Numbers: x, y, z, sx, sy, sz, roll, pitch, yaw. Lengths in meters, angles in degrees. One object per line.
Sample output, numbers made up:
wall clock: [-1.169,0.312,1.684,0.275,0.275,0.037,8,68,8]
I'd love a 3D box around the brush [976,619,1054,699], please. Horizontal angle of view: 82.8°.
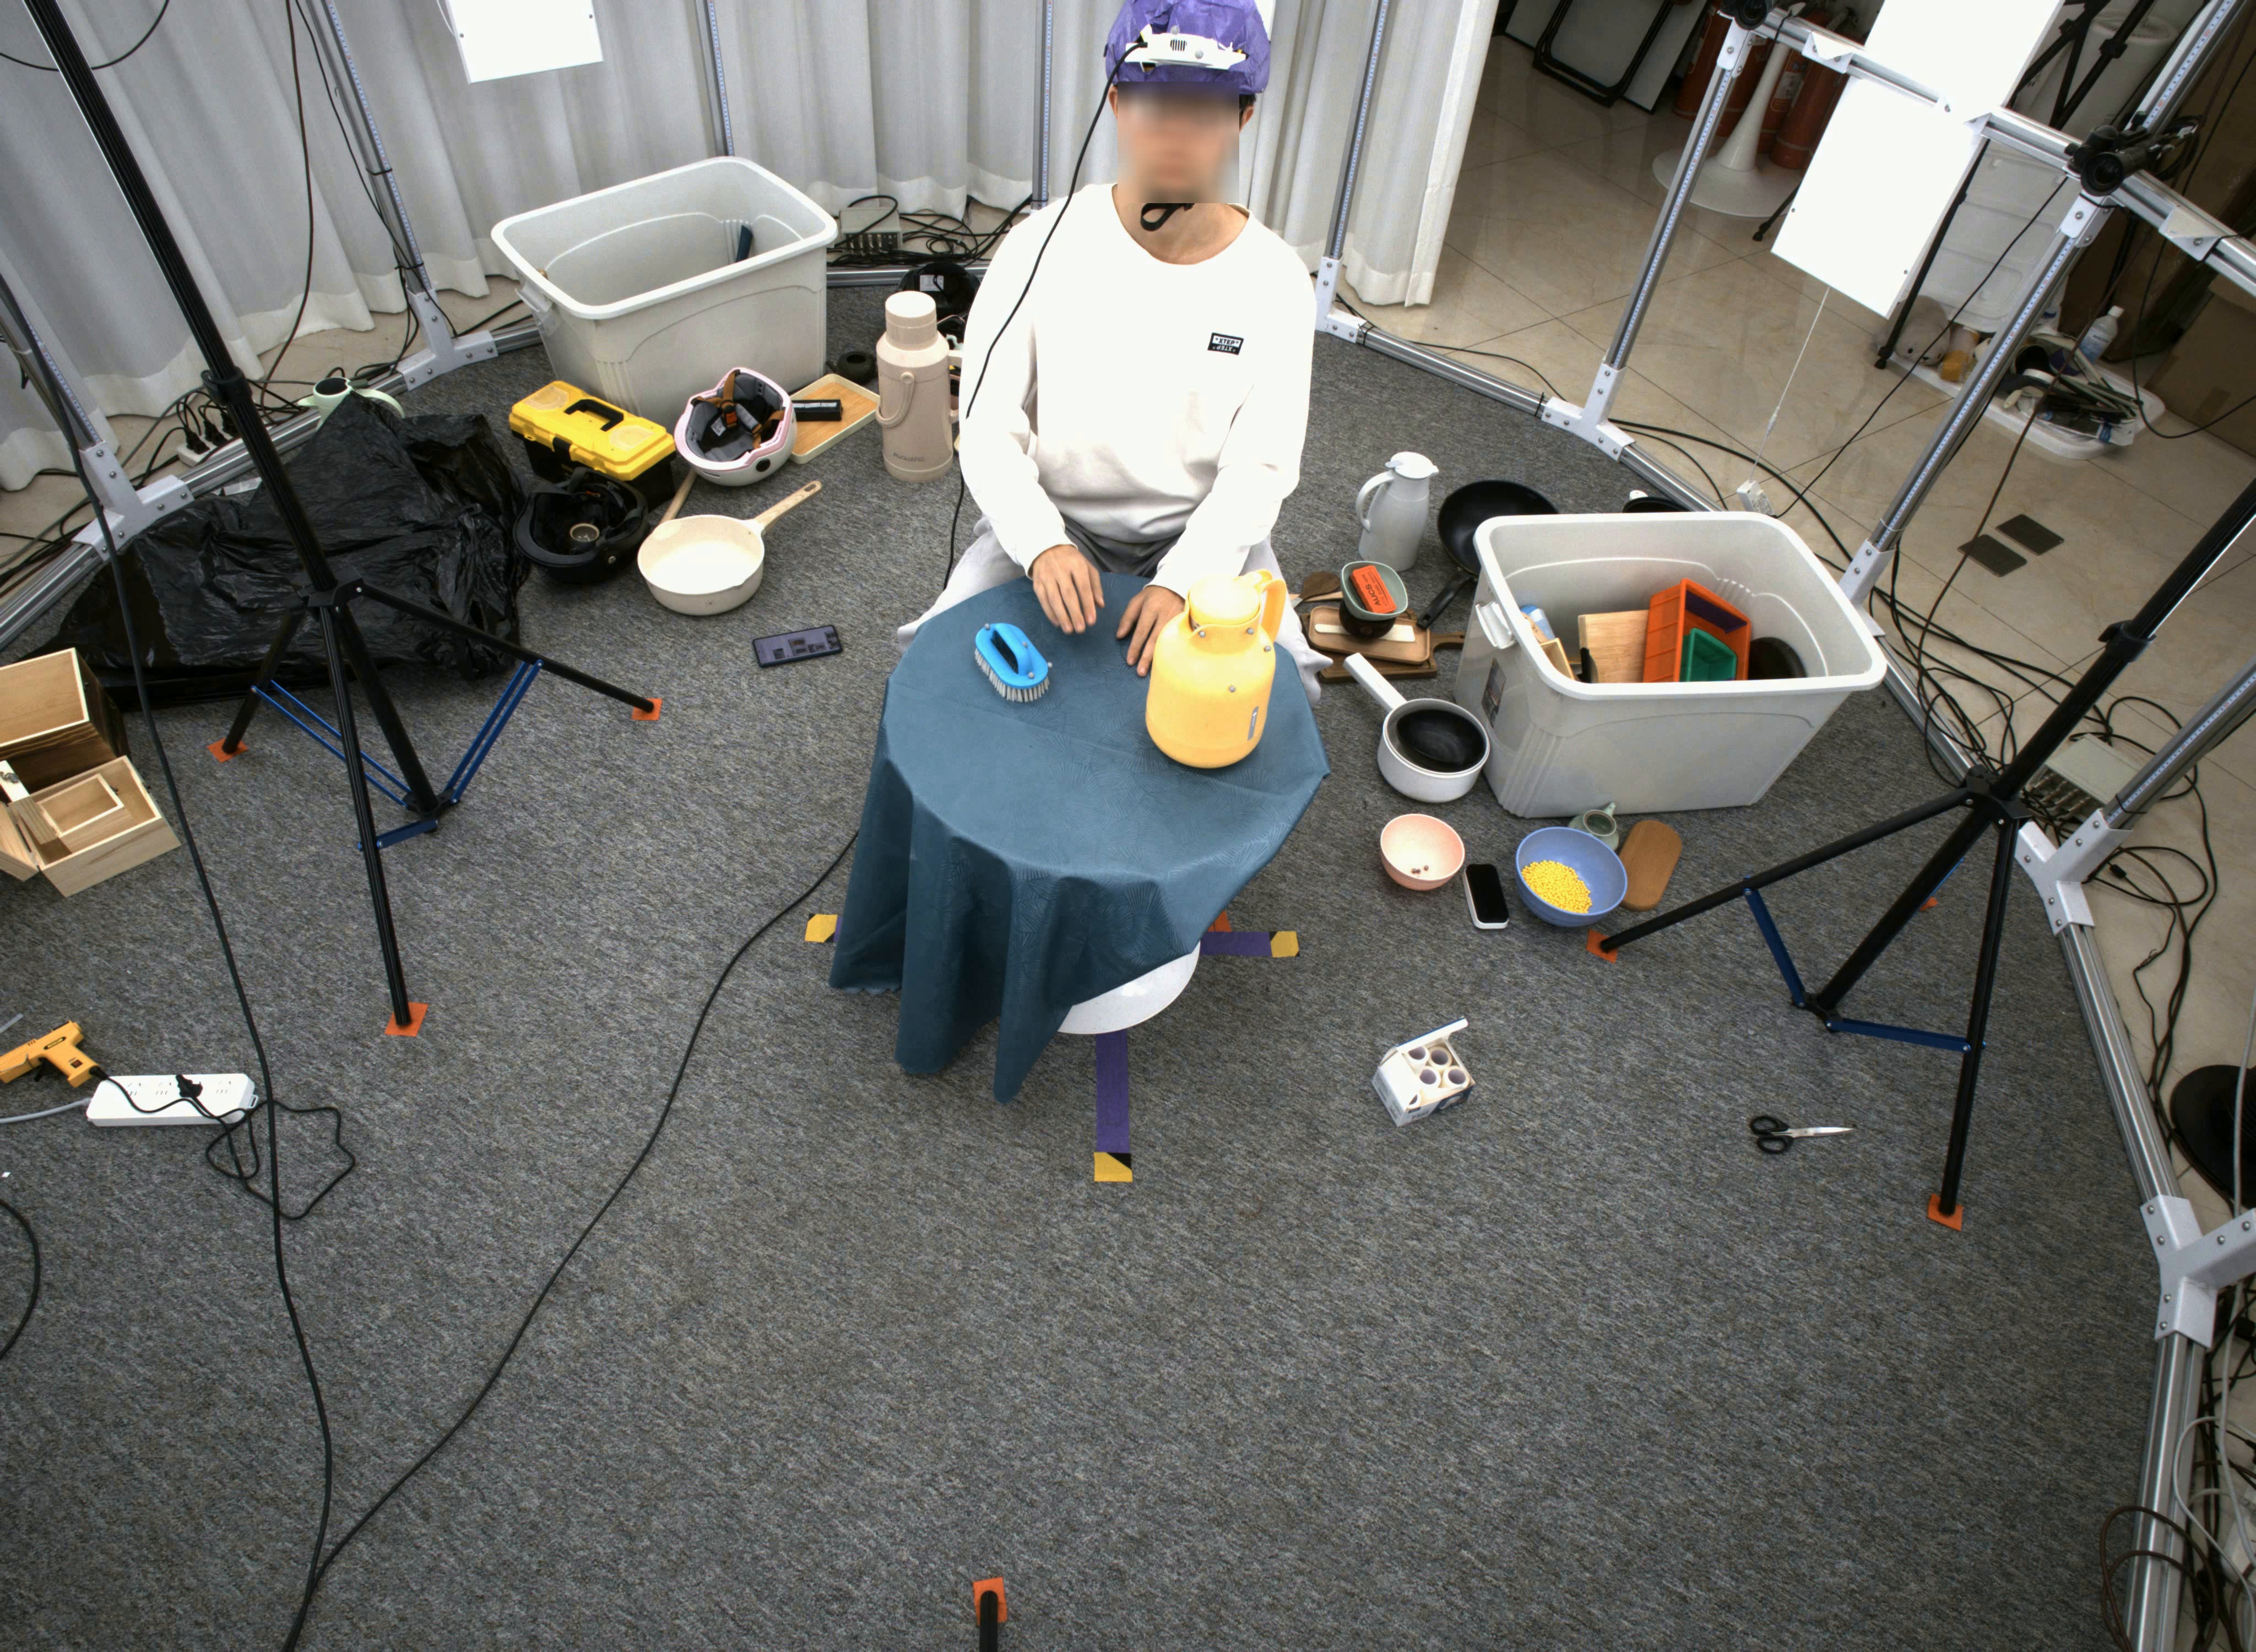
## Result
brush: [-0.164,-0.248,1.825,0.084,0.062,0.145,-23,54,-16]

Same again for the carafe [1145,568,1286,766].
carafe: [0.126,-0.220,1.696,0.204,0.254,0.166,-35,62,-28]
